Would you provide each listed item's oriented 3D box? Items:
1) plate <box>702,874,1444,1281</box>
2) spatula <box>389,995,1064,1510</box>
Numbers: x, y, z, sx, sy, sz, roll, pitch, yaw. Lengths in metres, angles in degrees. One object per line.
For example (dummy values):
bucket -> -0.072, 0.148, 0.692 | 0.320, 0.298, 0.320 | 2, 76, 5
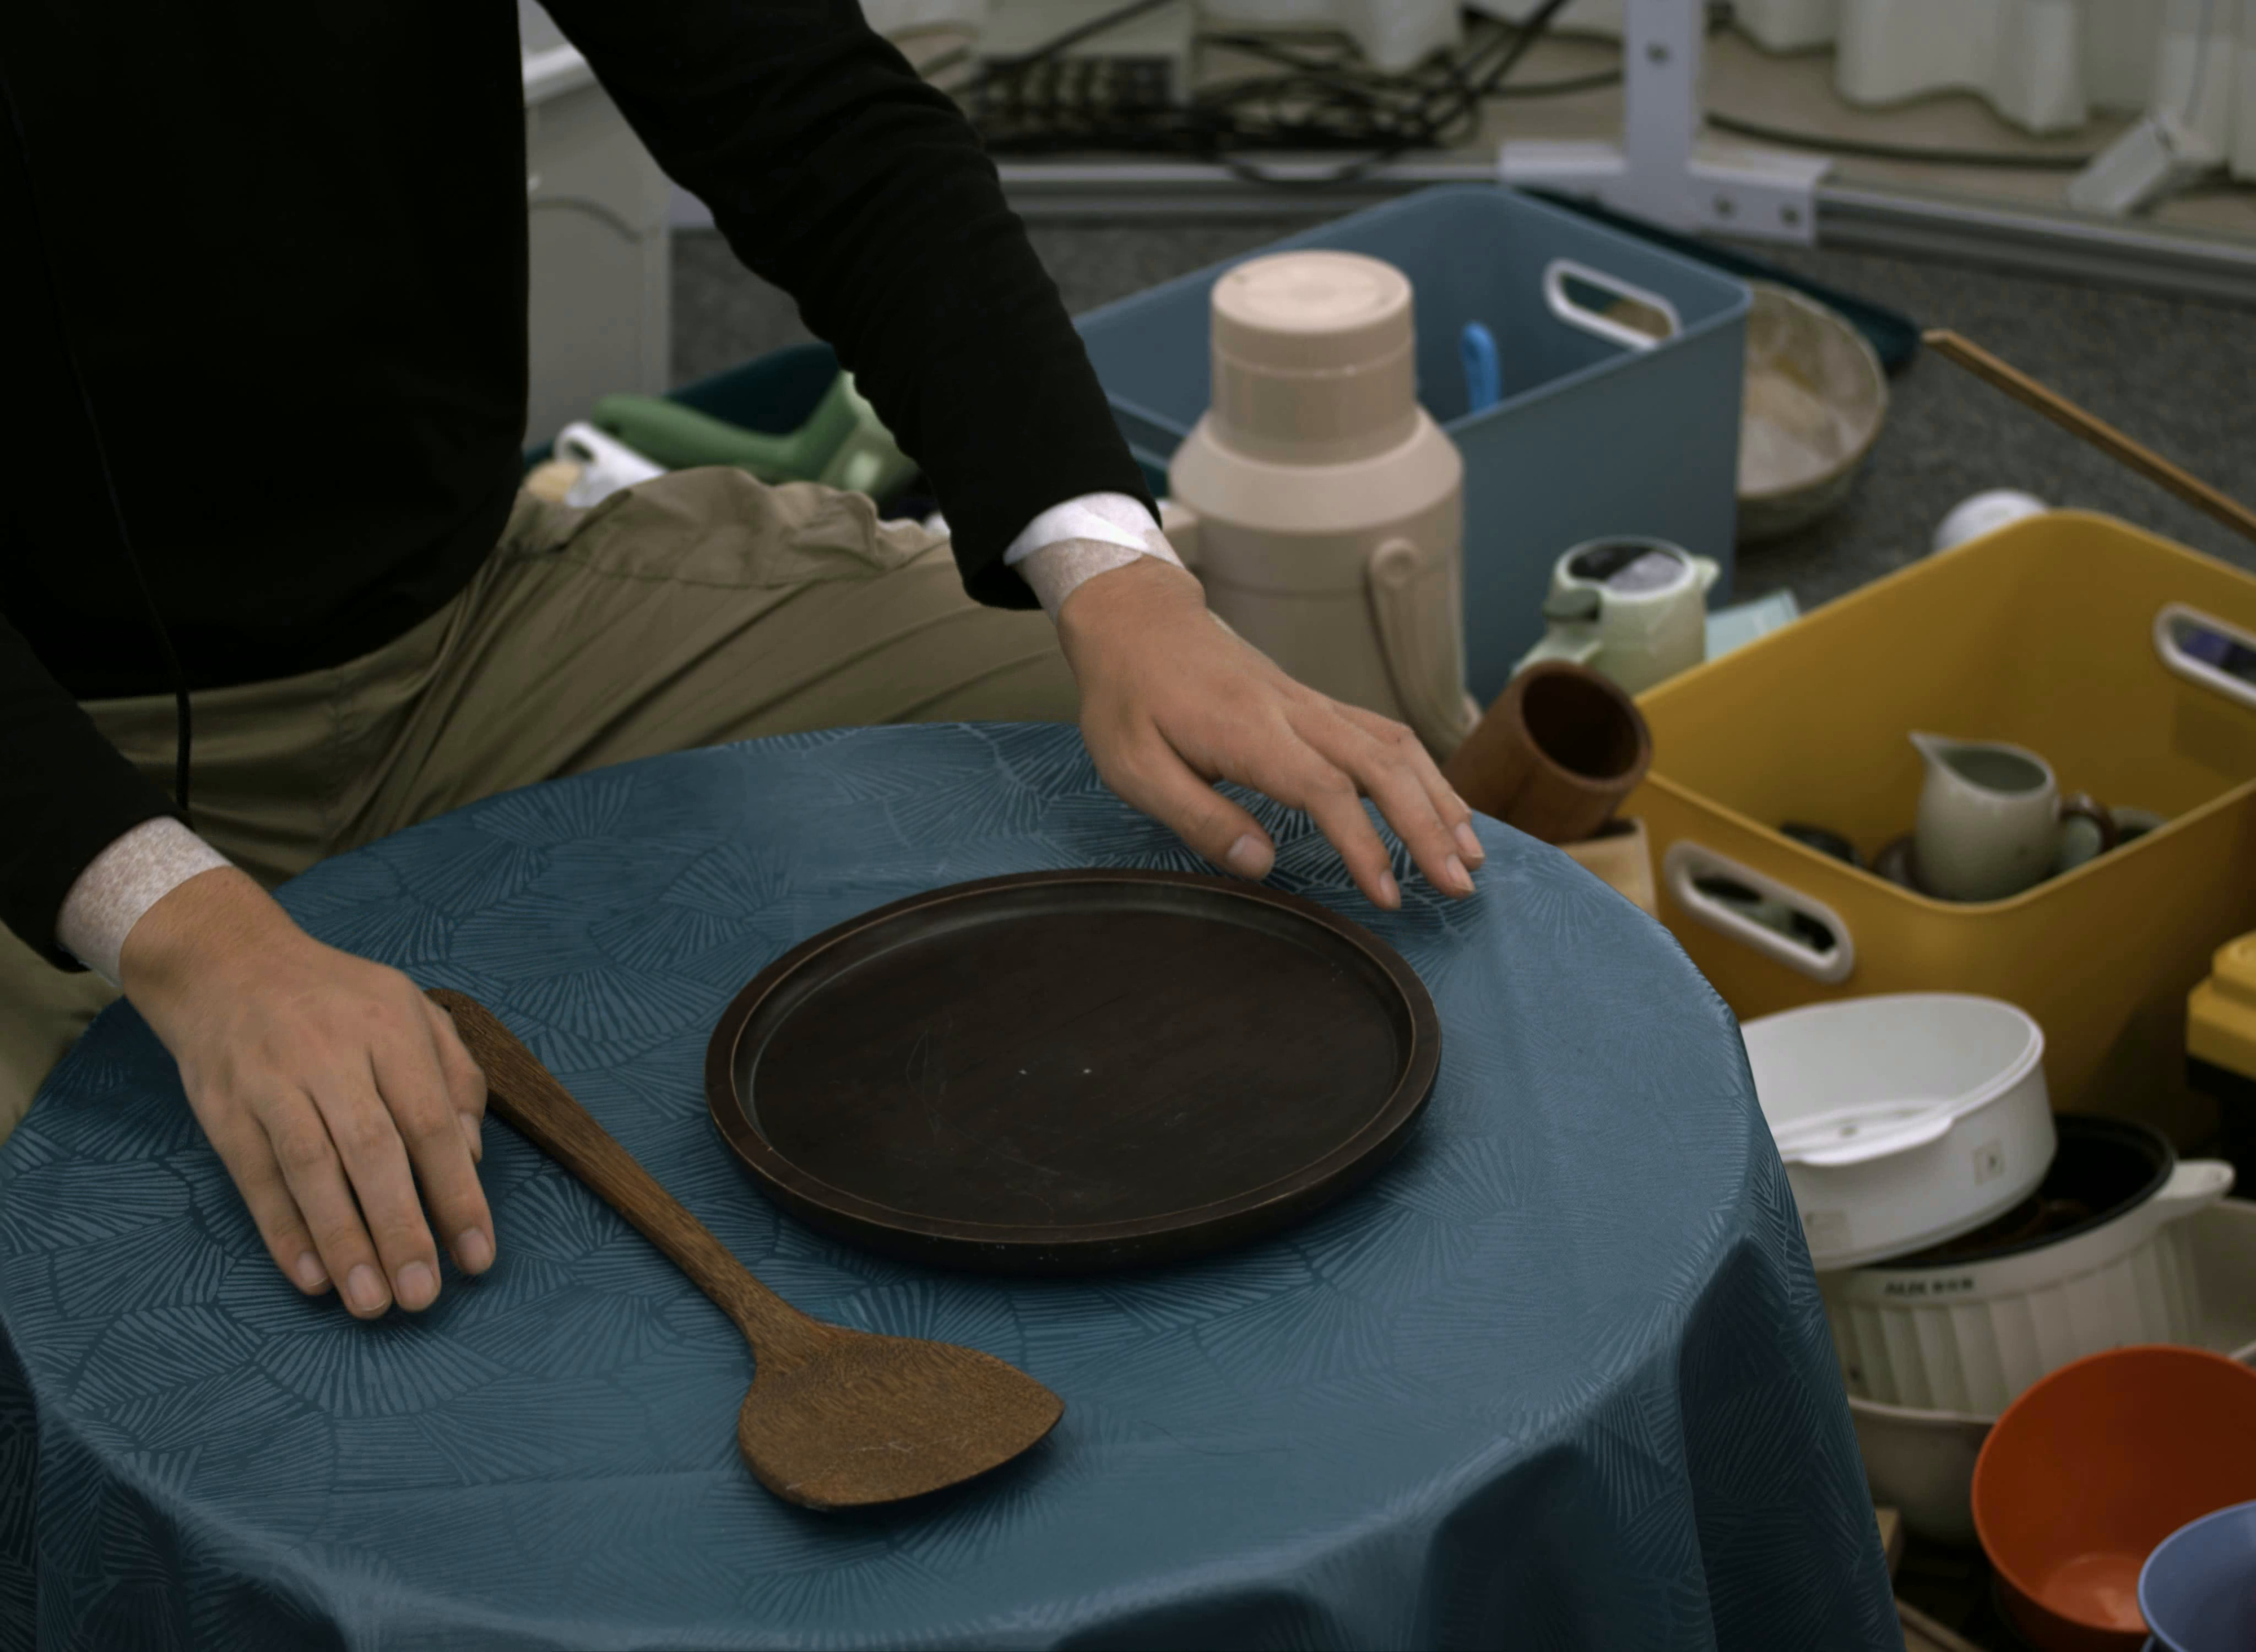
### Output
plate -> -0.019, 0.083, 1.911 | 0.253, 0.029, 0.259 | -3, 28, 2
spatula -> -0.153, 0.131, 1.843 | 0.097, 0.015, 0.387 | -18, 31, -28
